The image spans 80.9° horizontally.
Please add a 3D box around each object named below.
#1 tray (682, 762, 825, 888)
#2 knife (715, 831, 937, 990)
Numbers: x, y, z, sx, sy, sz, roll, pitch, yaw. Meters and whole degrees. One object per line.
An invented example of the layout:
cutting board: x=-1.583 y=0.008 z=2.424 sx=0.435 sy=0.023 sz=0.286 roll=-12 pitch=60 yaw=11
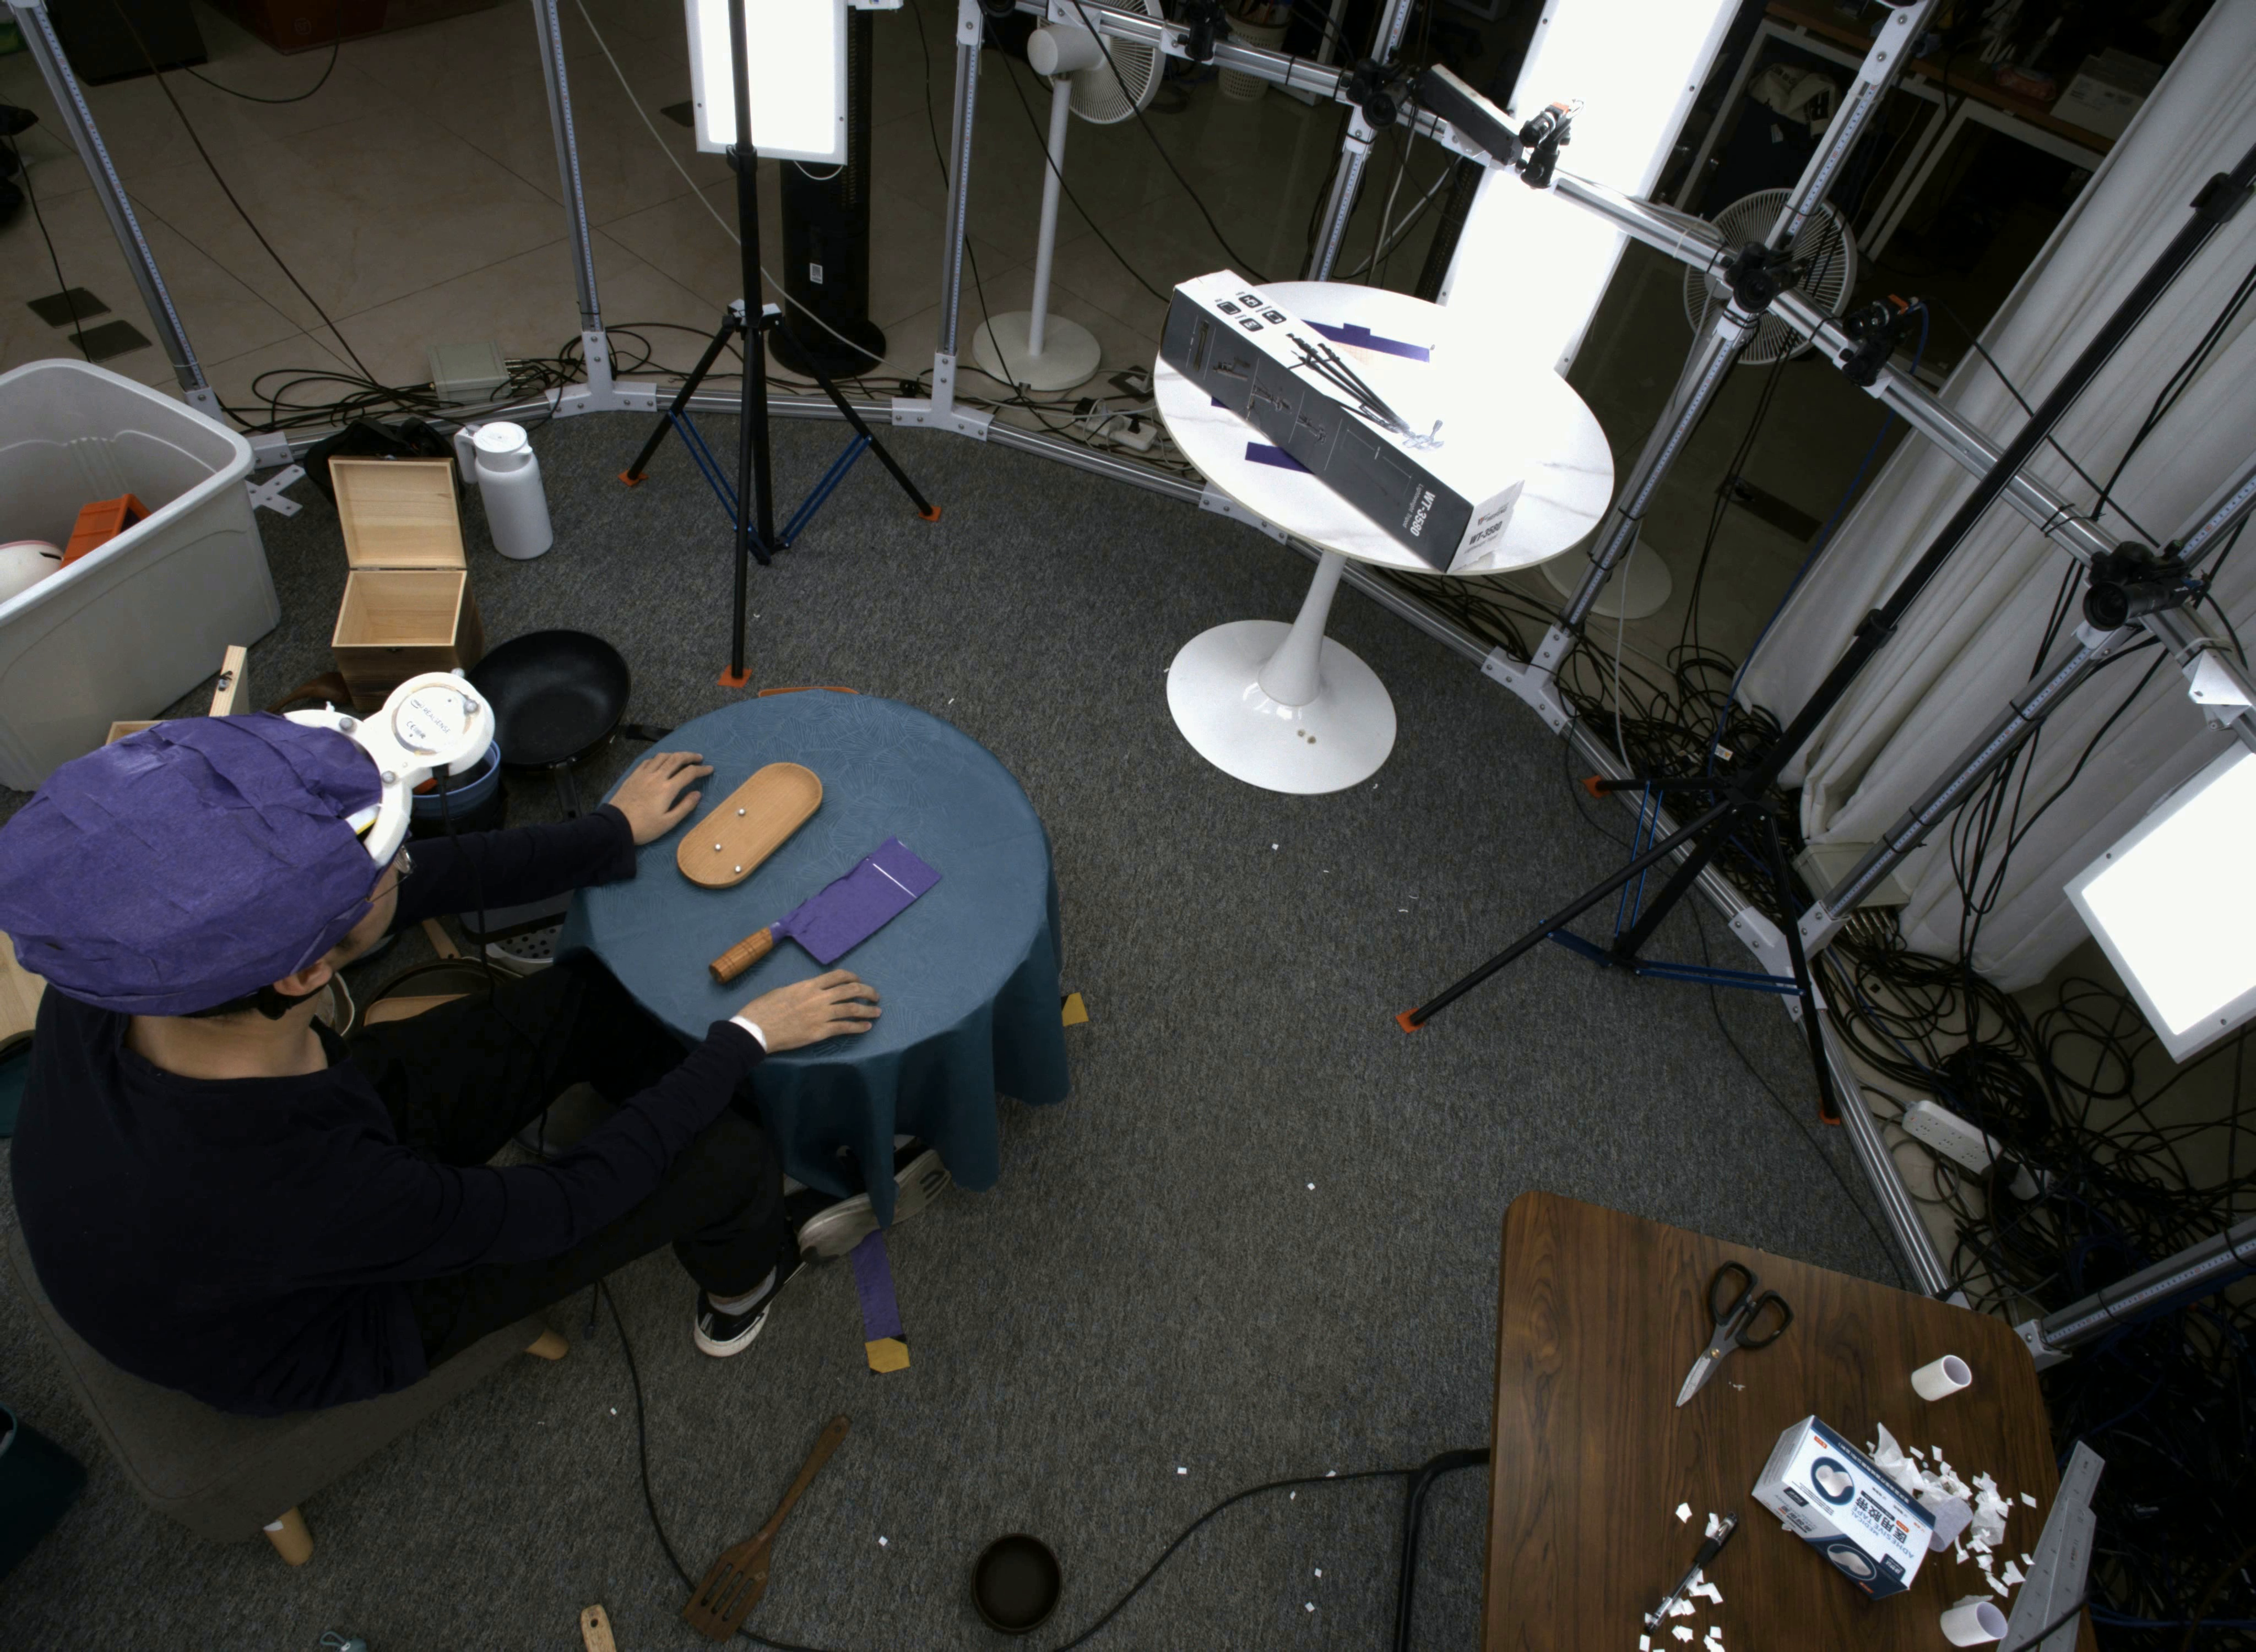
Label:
tray: x=-0.493 y=-0.005 z=1.712 sx=0.100 sy=0.020 sz=0.230 roll=32 pitch=50 yaw=7
knife: x=-0.373 y=0.116 z=1.645 sx=0.102 sy=0.033 sz=0.315 roll=37 pitch=54 yaw=15
